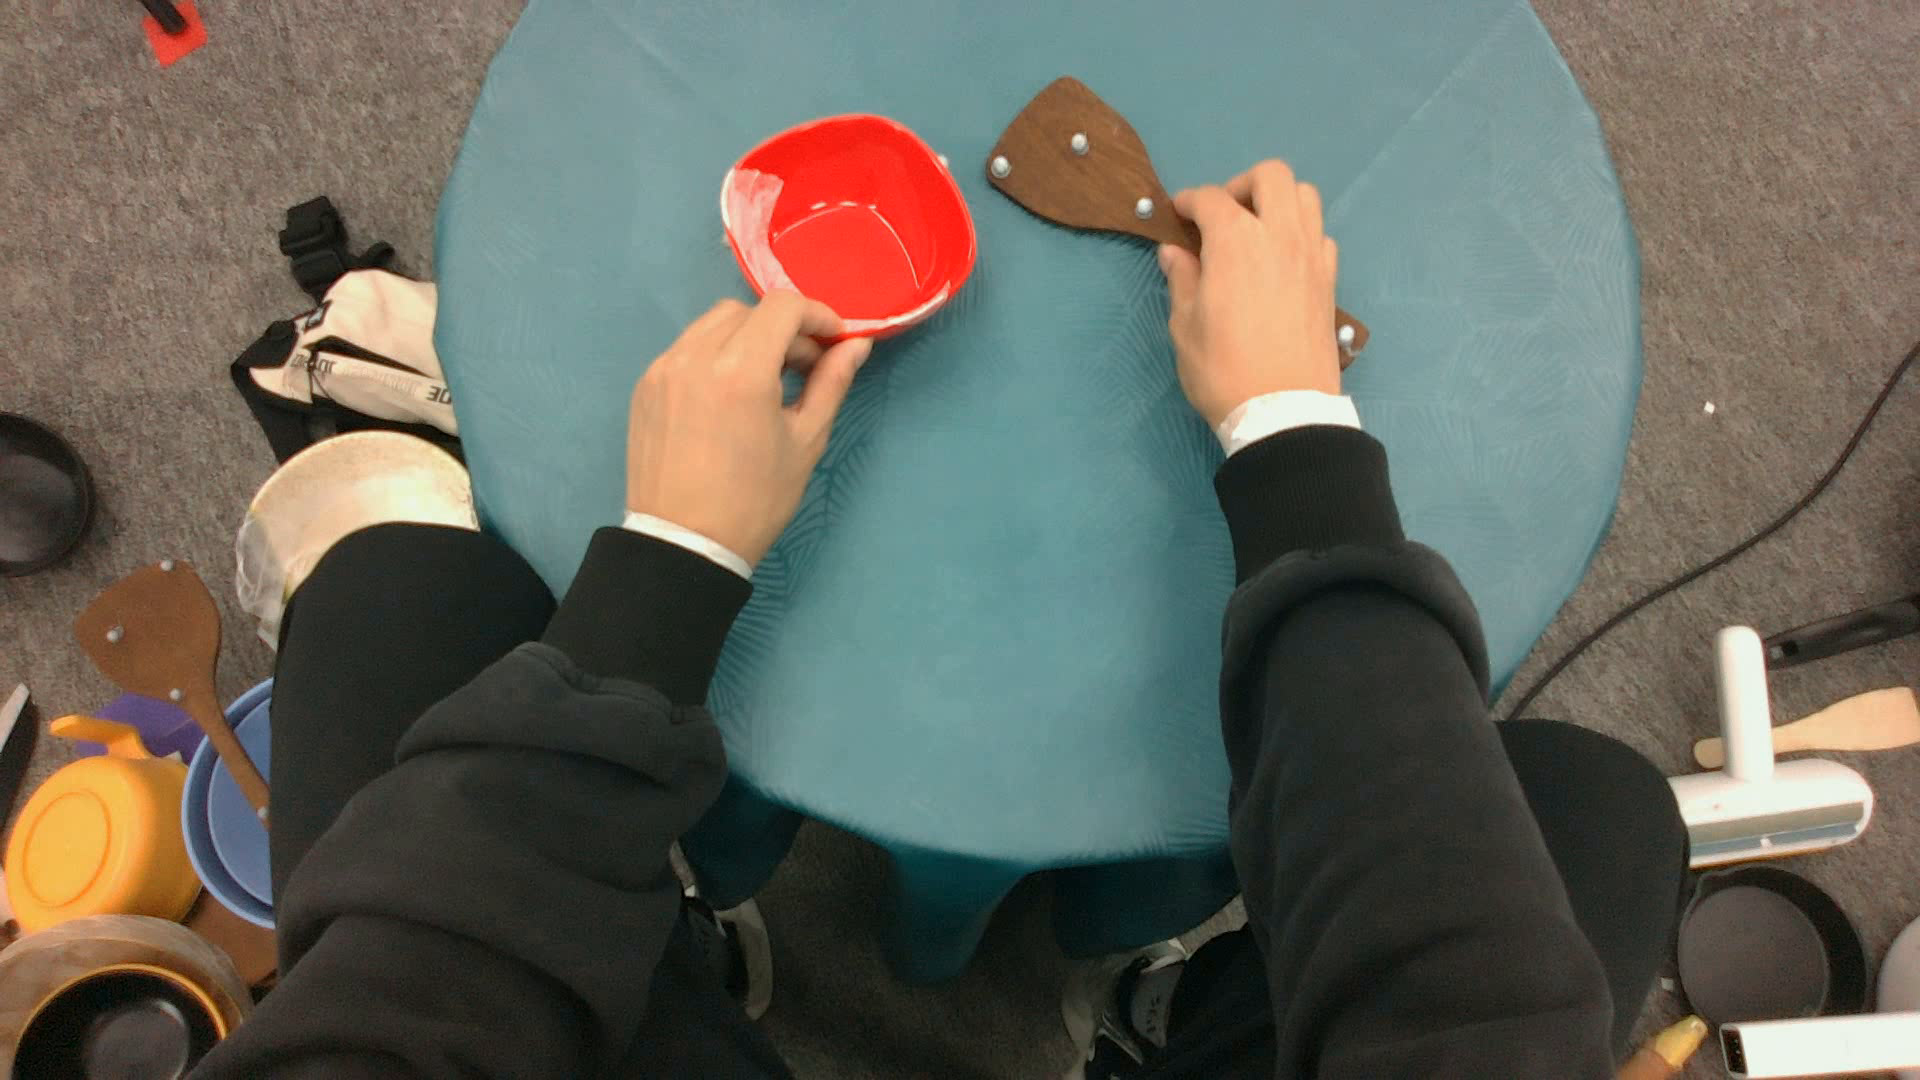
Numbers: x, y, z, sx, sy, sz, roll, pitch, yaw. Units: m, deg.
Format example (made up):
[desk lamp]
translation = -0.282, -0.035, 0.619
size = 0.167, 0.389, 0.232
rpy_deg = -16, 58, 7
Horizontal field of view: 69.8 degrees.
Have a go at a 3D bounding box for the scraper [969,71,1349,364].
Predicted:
[scraper]
translation = 0.103, -0.156, 0.689
size = 0.211, 0.011, 0.076
rpy_deg = 38, 77, 11

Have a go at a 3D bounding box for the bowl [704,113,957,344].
[bowl]
translation = -0.064, -0.140, 0.657
size = 0.119, 0.051, 0.119
rpy_deg = 4, 70, -12
